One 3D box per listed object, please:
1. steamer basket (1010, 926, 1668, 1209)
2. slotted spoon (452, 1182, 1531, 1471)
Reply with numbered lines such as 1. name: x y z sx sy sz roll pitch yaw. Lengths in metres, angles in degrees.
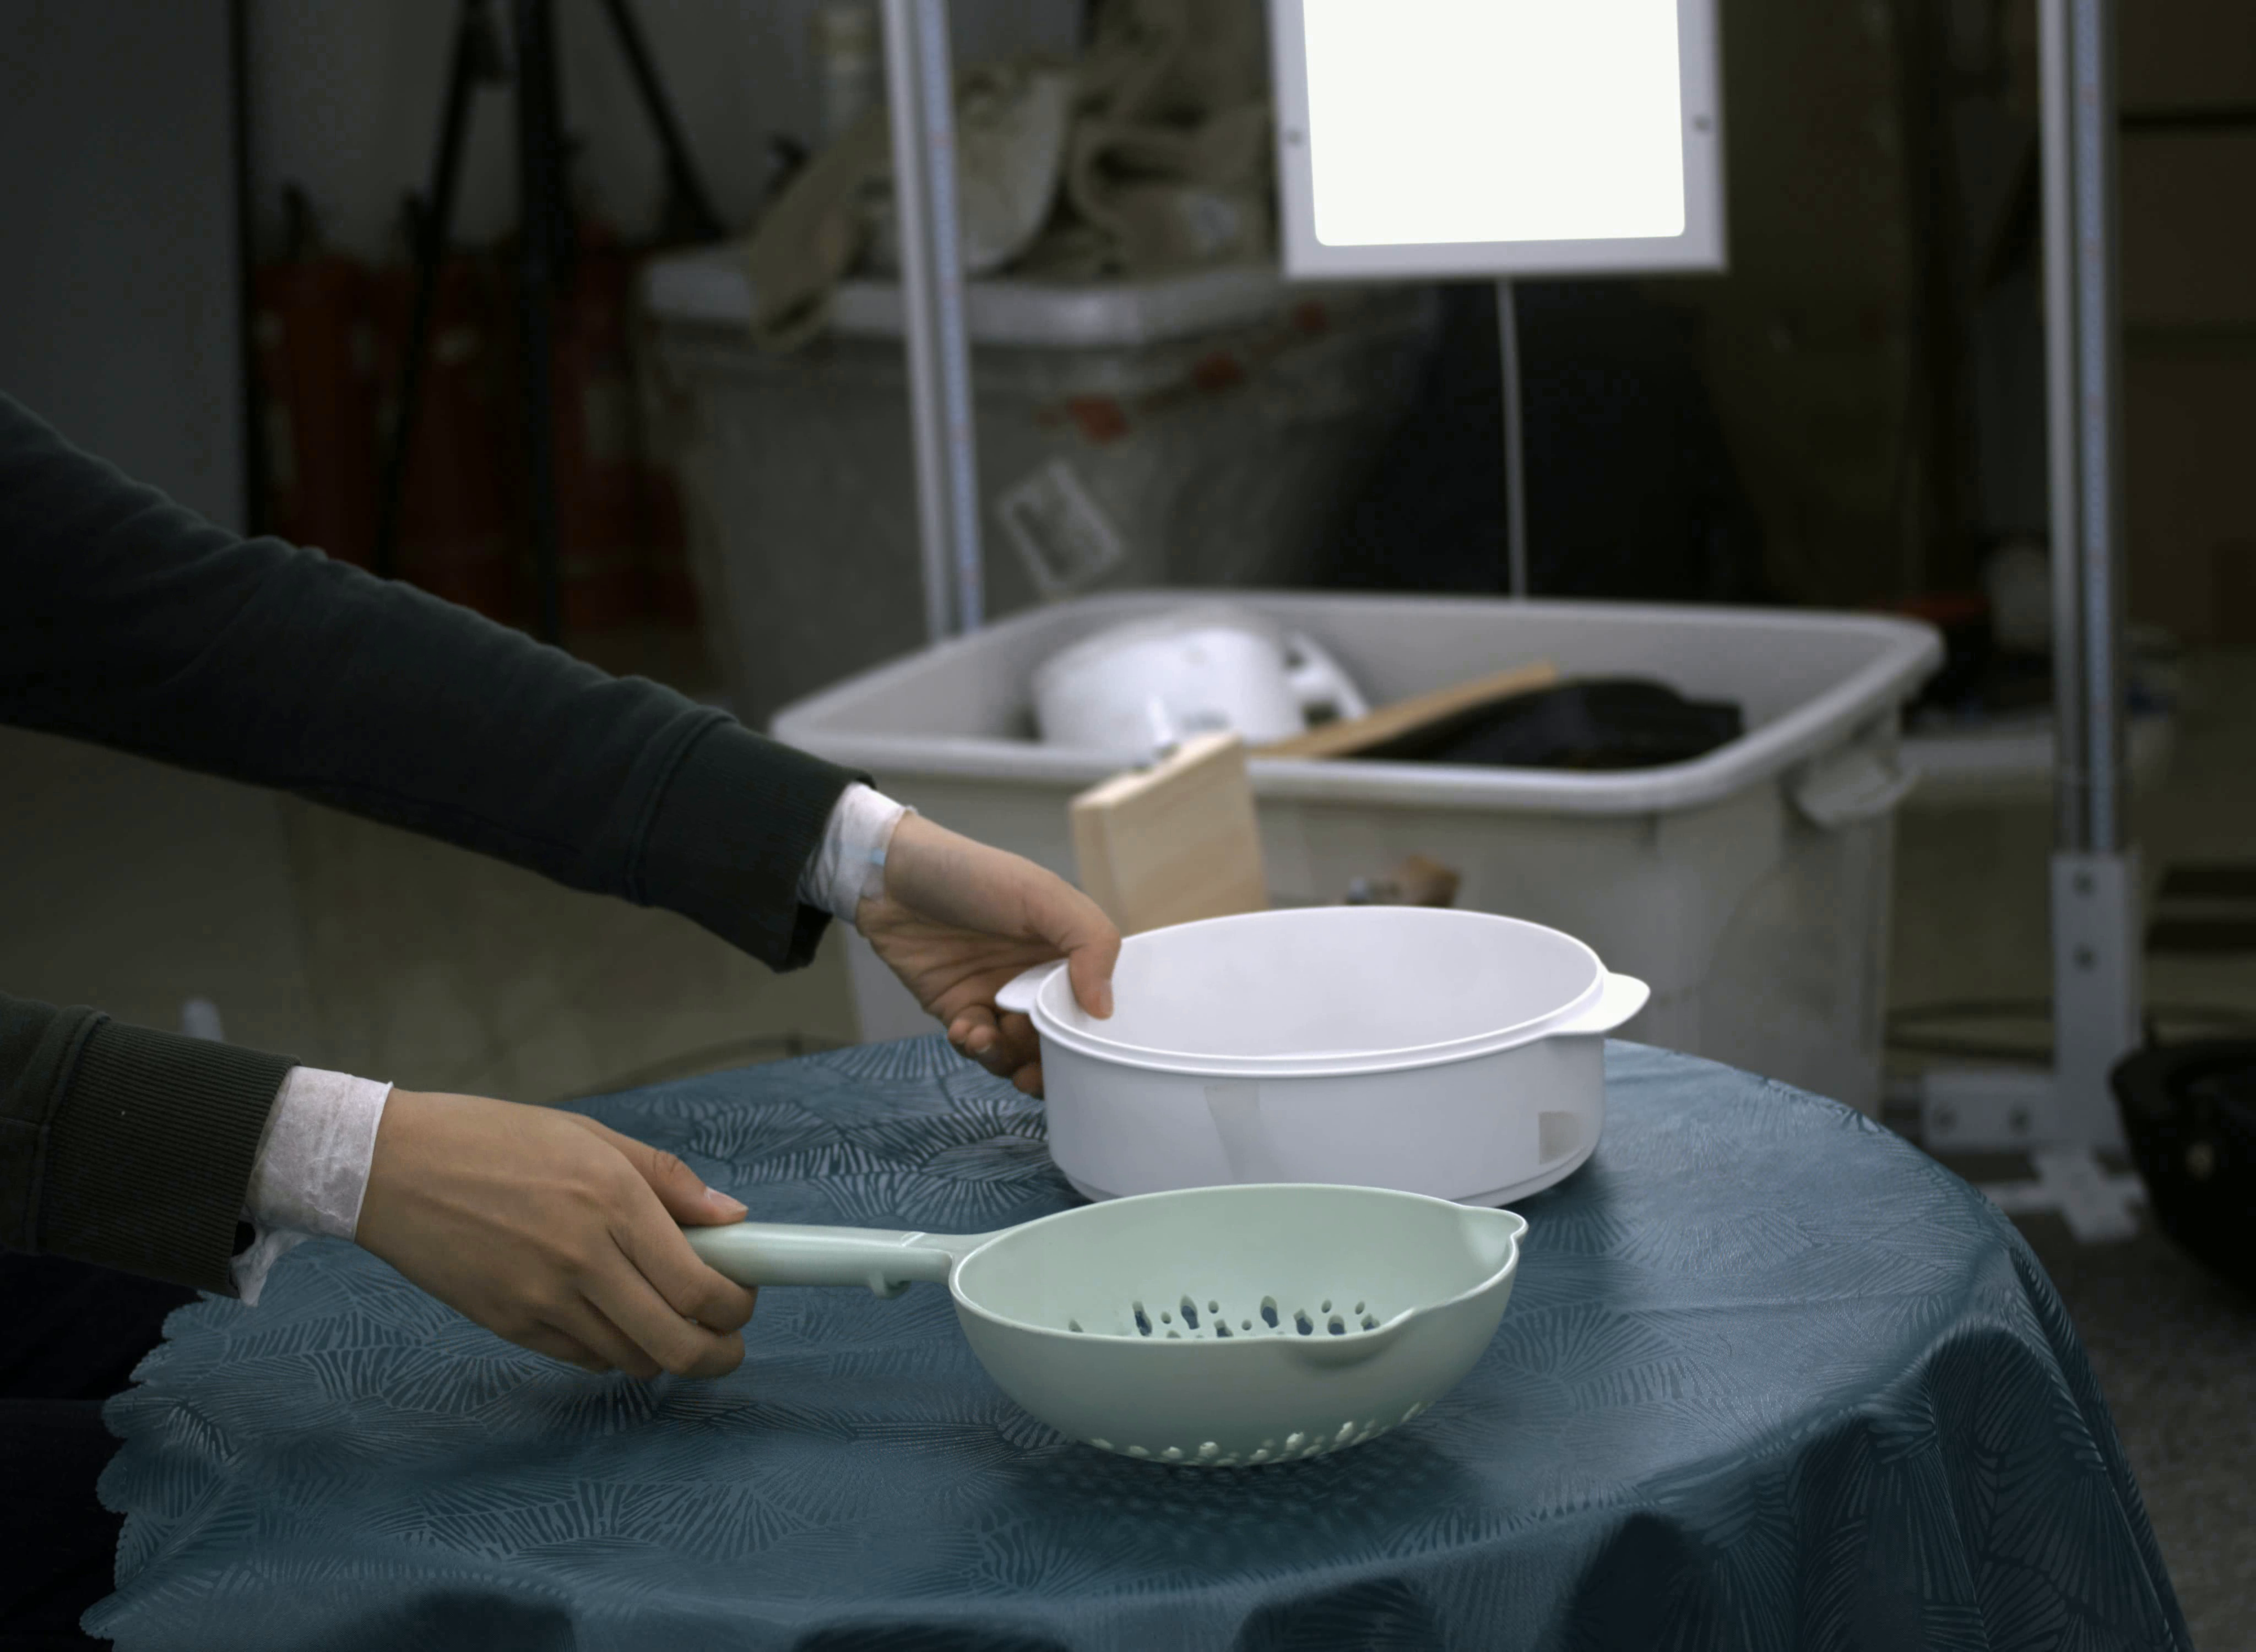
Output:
1. steamer basket: 0.073 0.088 1.897 0.234 0.069 0.198 0 12 22
2. slotted spoon: -0.054 0.140 1.685 0.364 0.076 0.166 10 15 26
